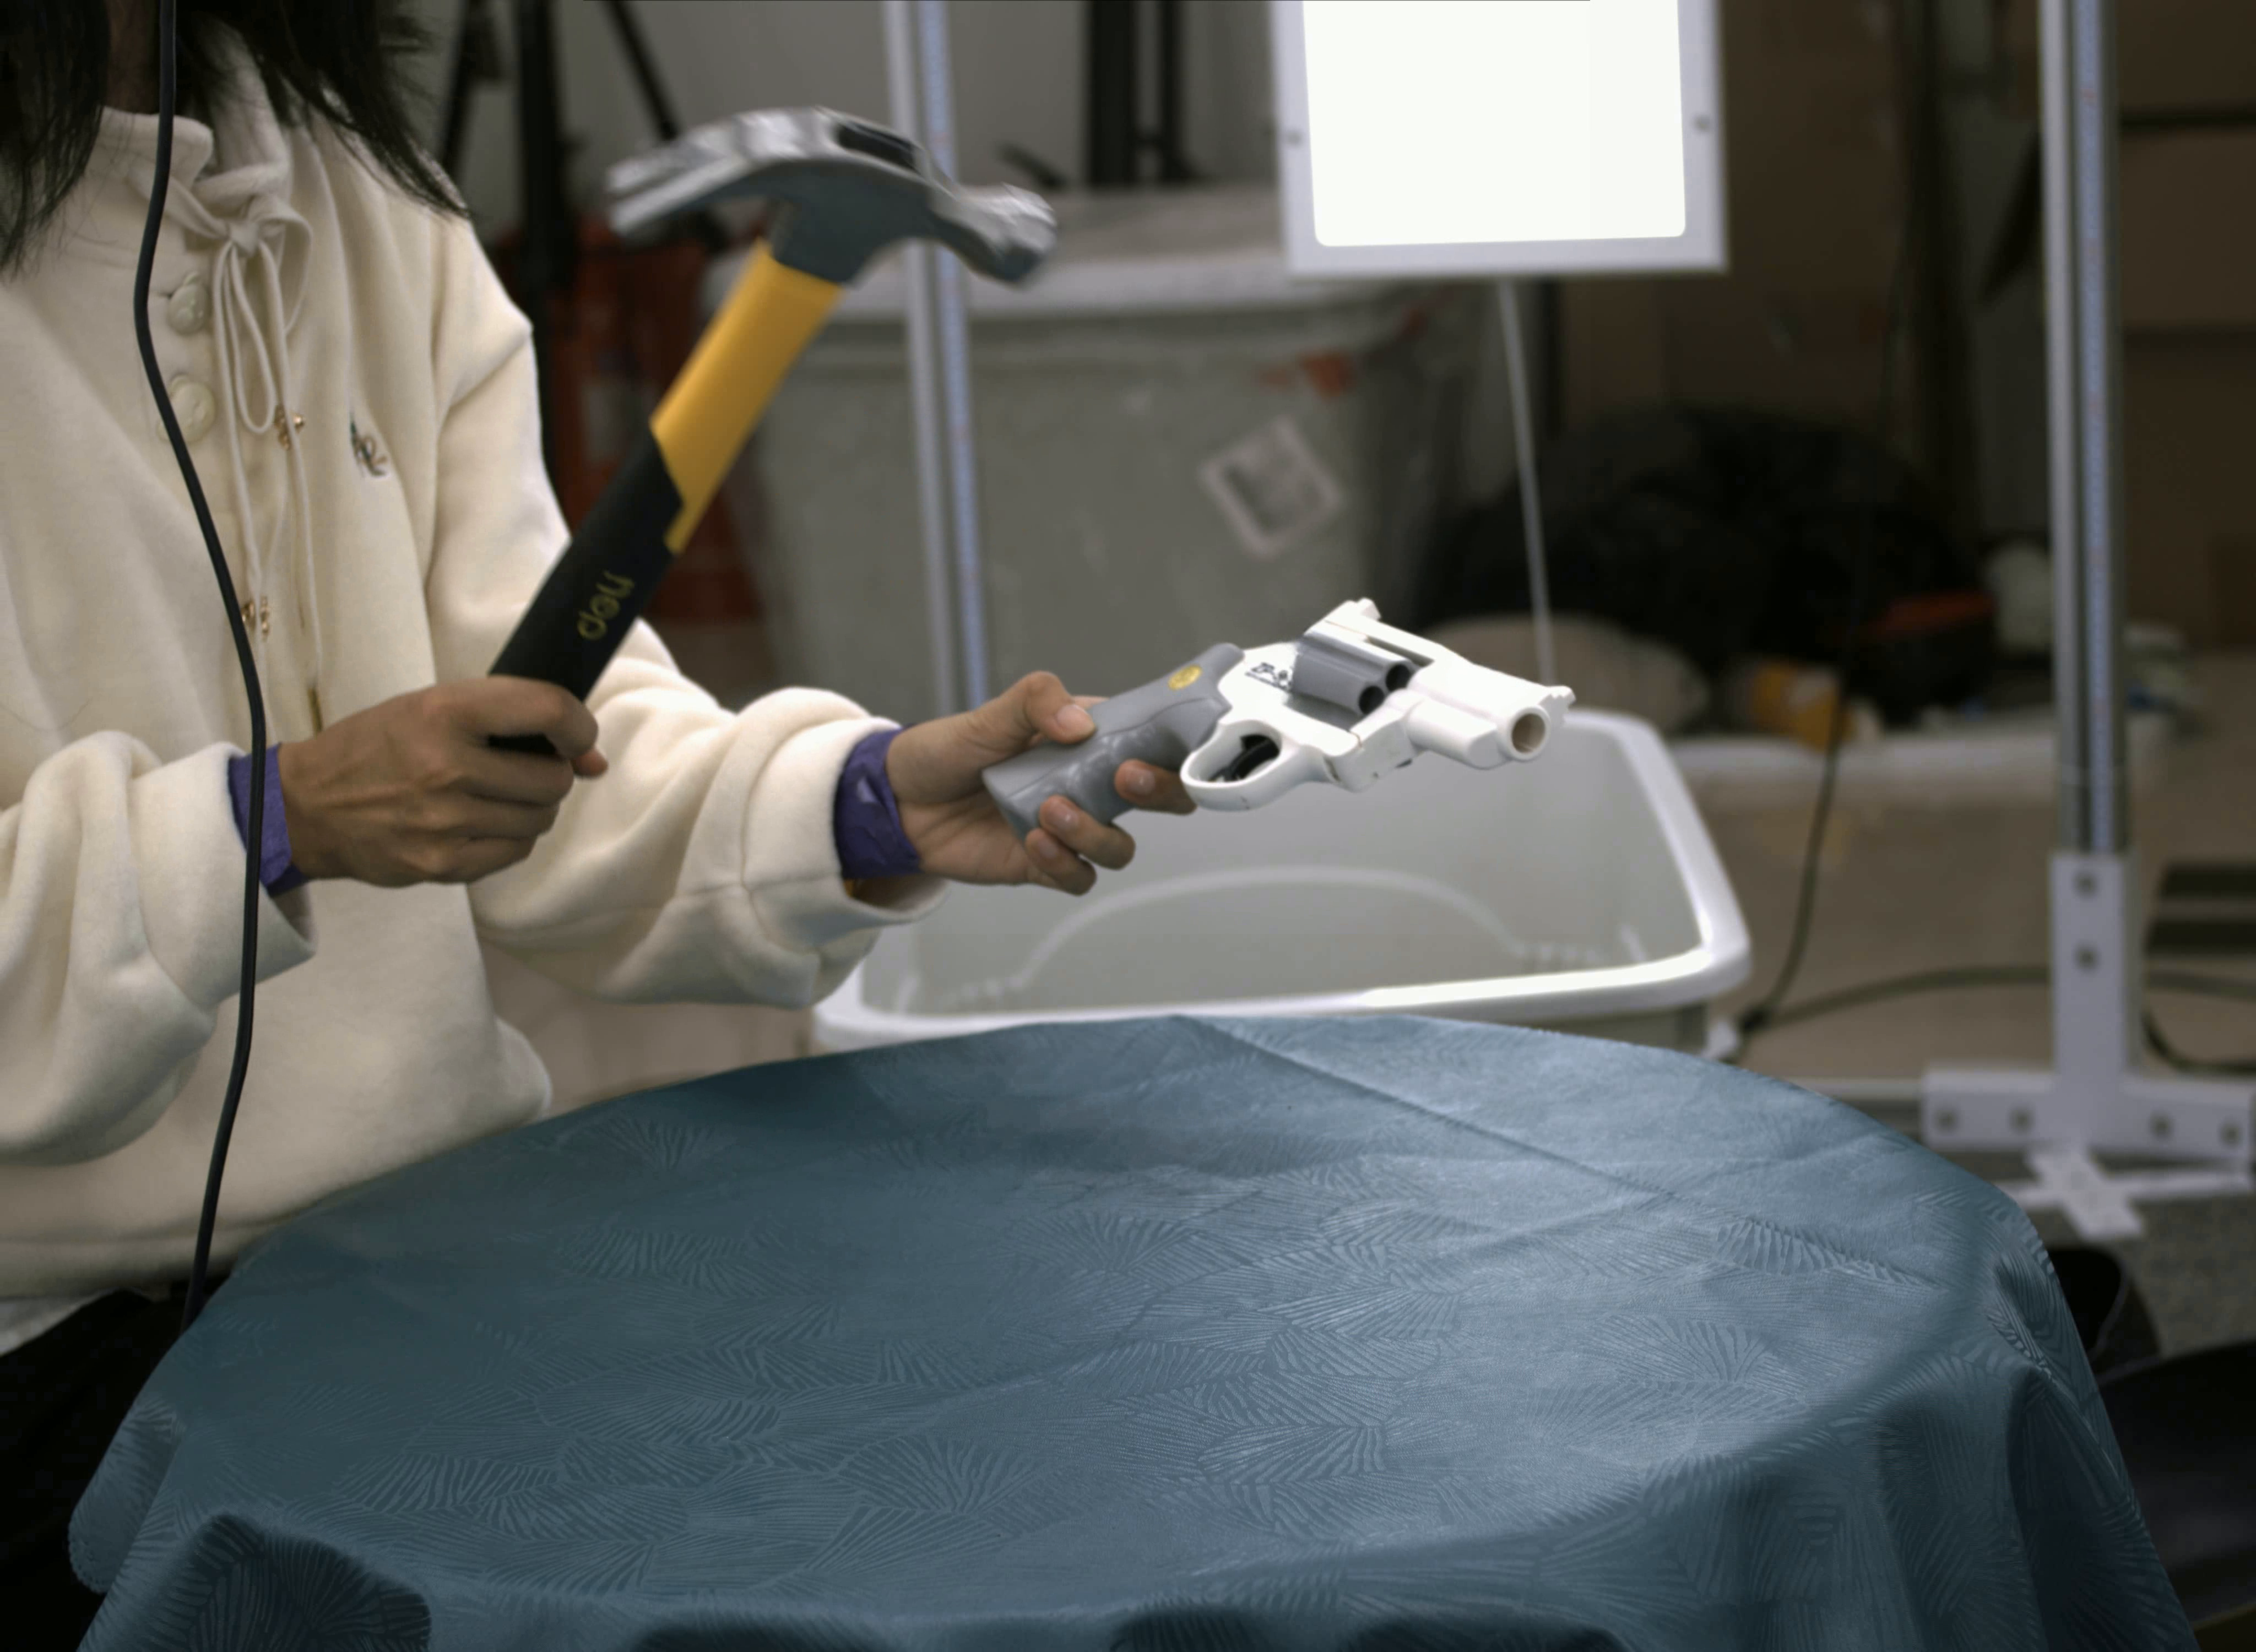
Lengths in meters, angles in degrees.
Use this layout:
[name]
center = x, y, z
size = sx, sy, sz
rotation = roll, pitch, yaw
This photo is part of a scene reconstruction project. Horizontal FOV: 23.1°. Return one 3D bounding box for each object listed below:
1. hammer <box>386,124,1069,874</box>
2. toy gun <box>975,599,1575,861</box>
[hammer]
center = -0.159, -0.102, 1.842
size = 0.129, 0.344, 0.032
rotation = 20, 40, -24
[toy gun]
center = 0.047, -0.028, 1.898
size = 0.140, 0.038, 0.213
rotation = -38, 27, -18
